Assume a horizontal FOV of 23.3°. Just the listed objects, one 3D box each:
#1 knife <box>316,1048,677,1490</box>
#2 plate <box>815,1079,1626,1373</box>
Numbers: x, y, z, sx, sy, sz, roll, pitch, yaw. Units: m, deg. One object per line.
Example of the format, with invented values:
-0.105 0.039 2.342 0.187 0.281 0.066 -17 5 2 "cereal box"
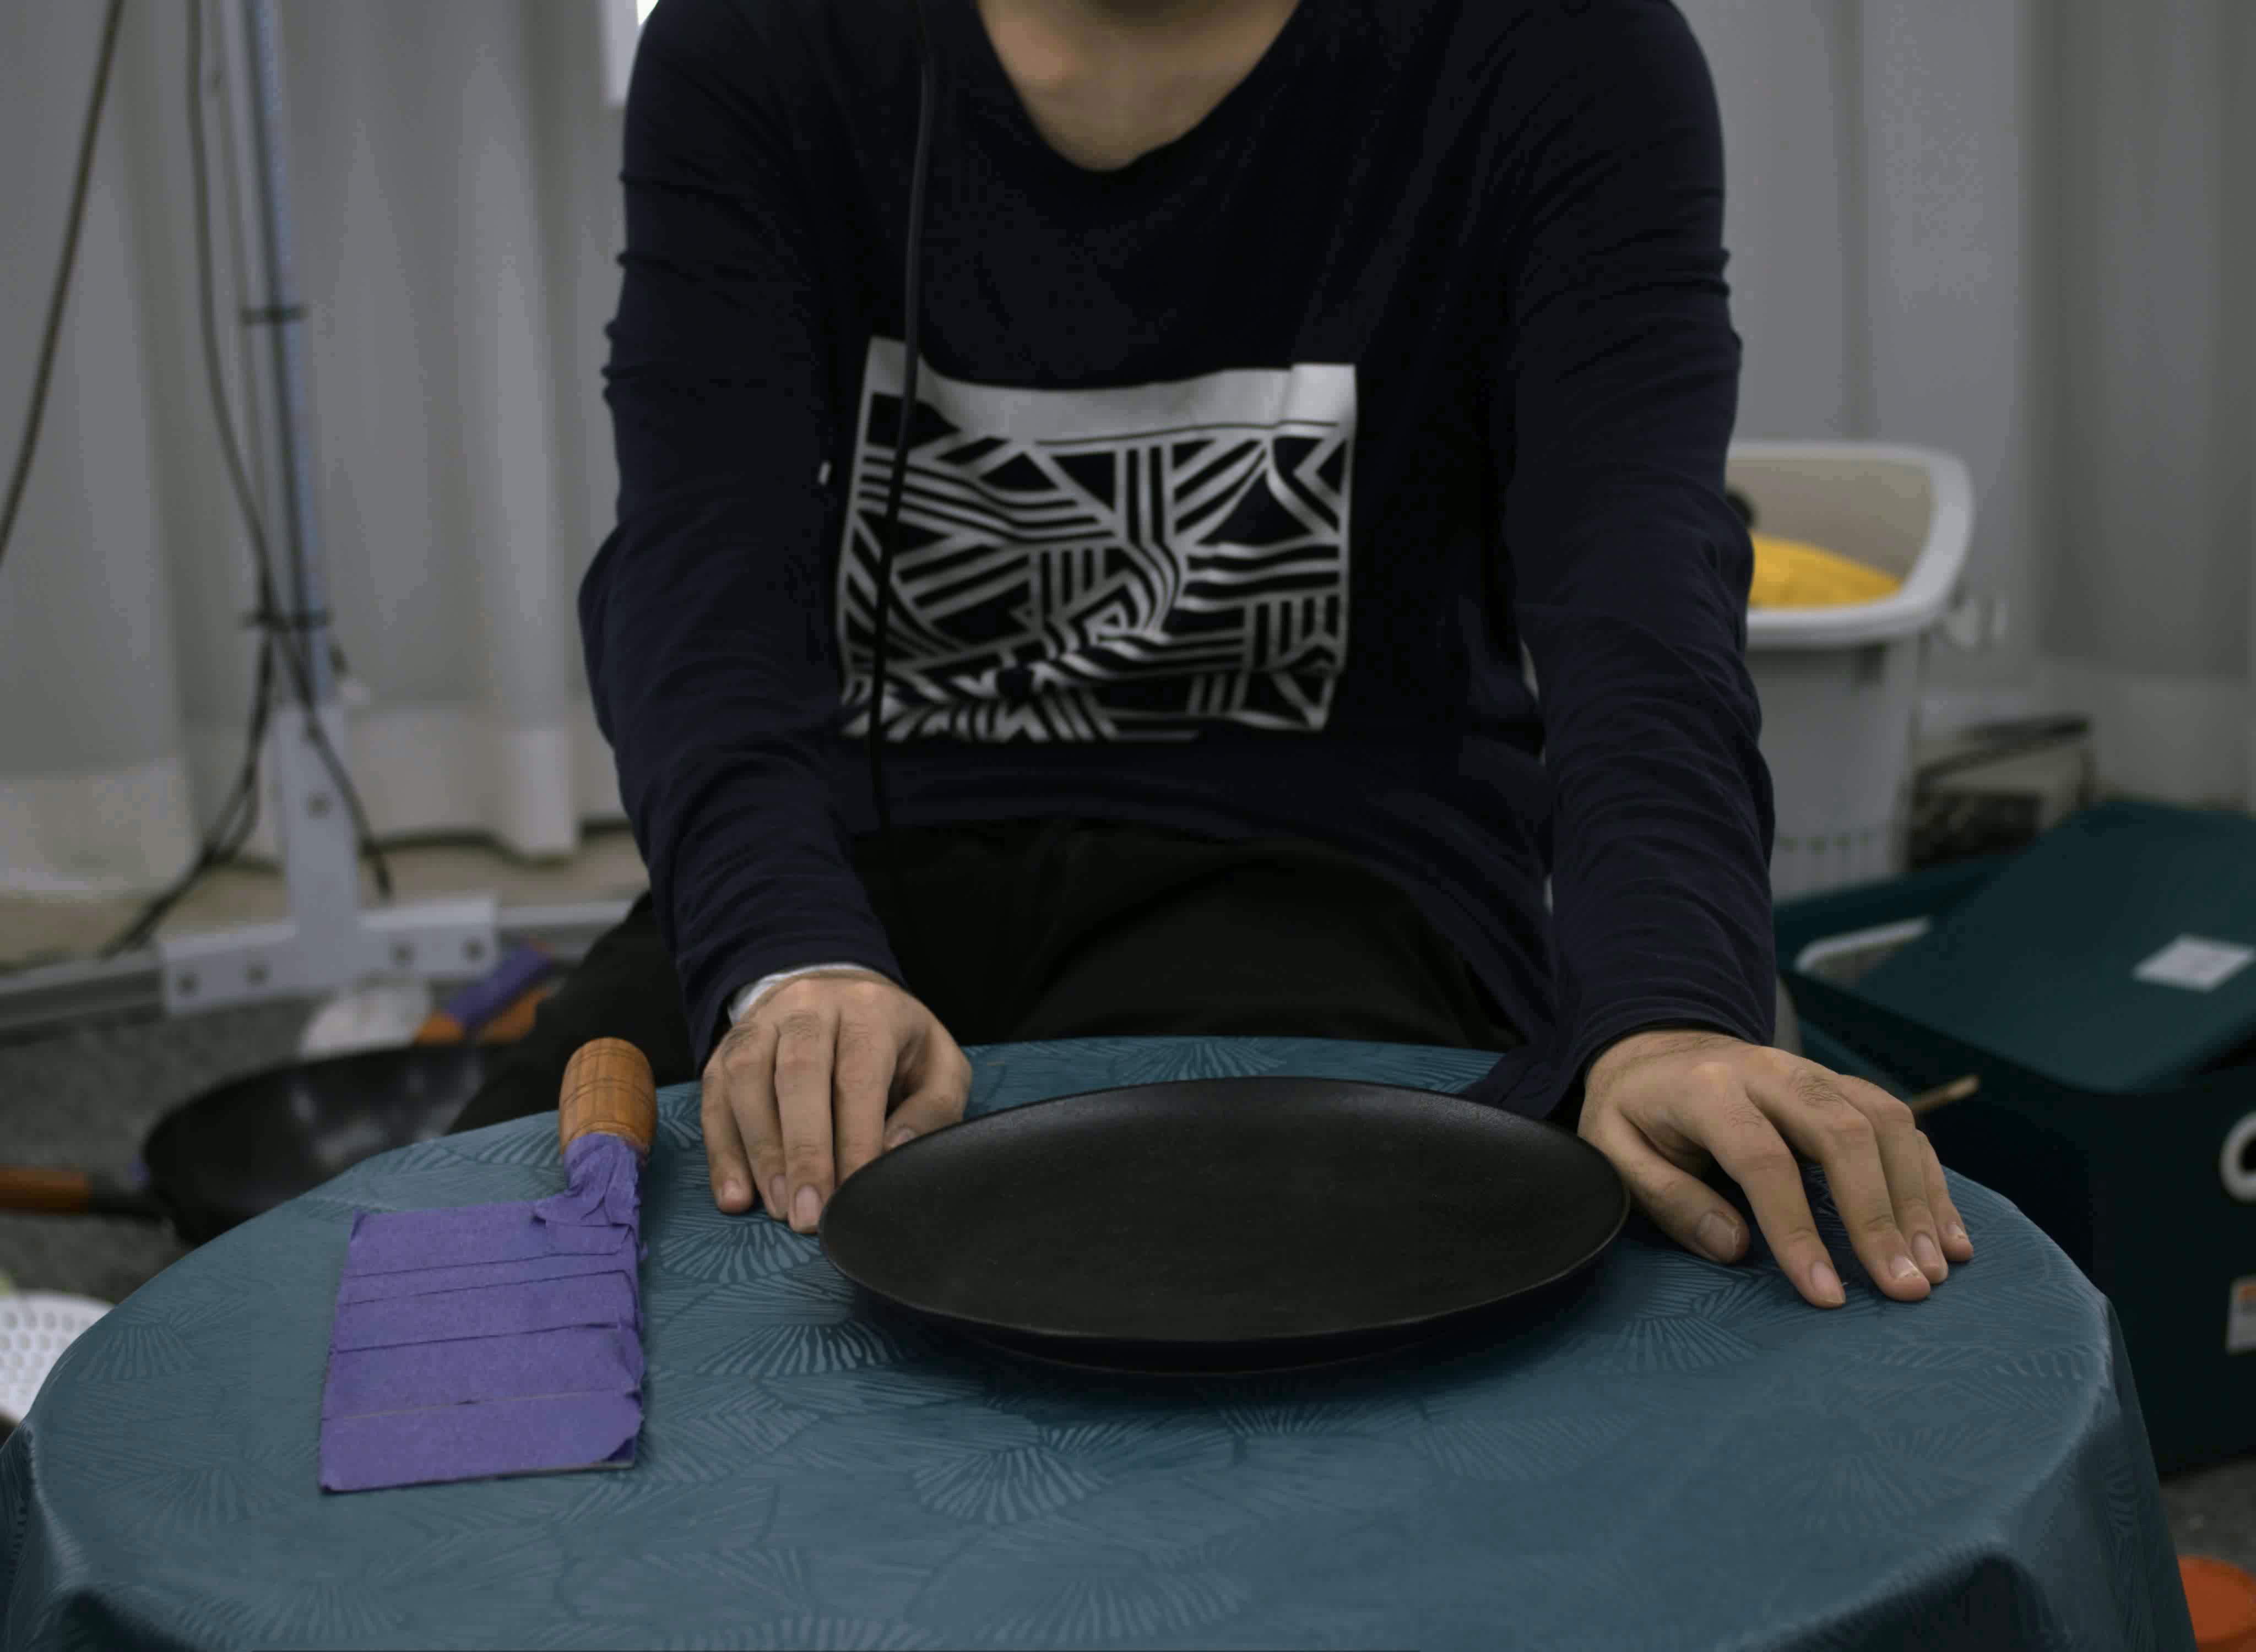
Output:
-0.190 0.129 1.647 0.103 0.032 0.317 -4 15 -5 "knife"
0.028 0.122 1.640 0.243 0.023 0.246 -3 15 0 "plate"
